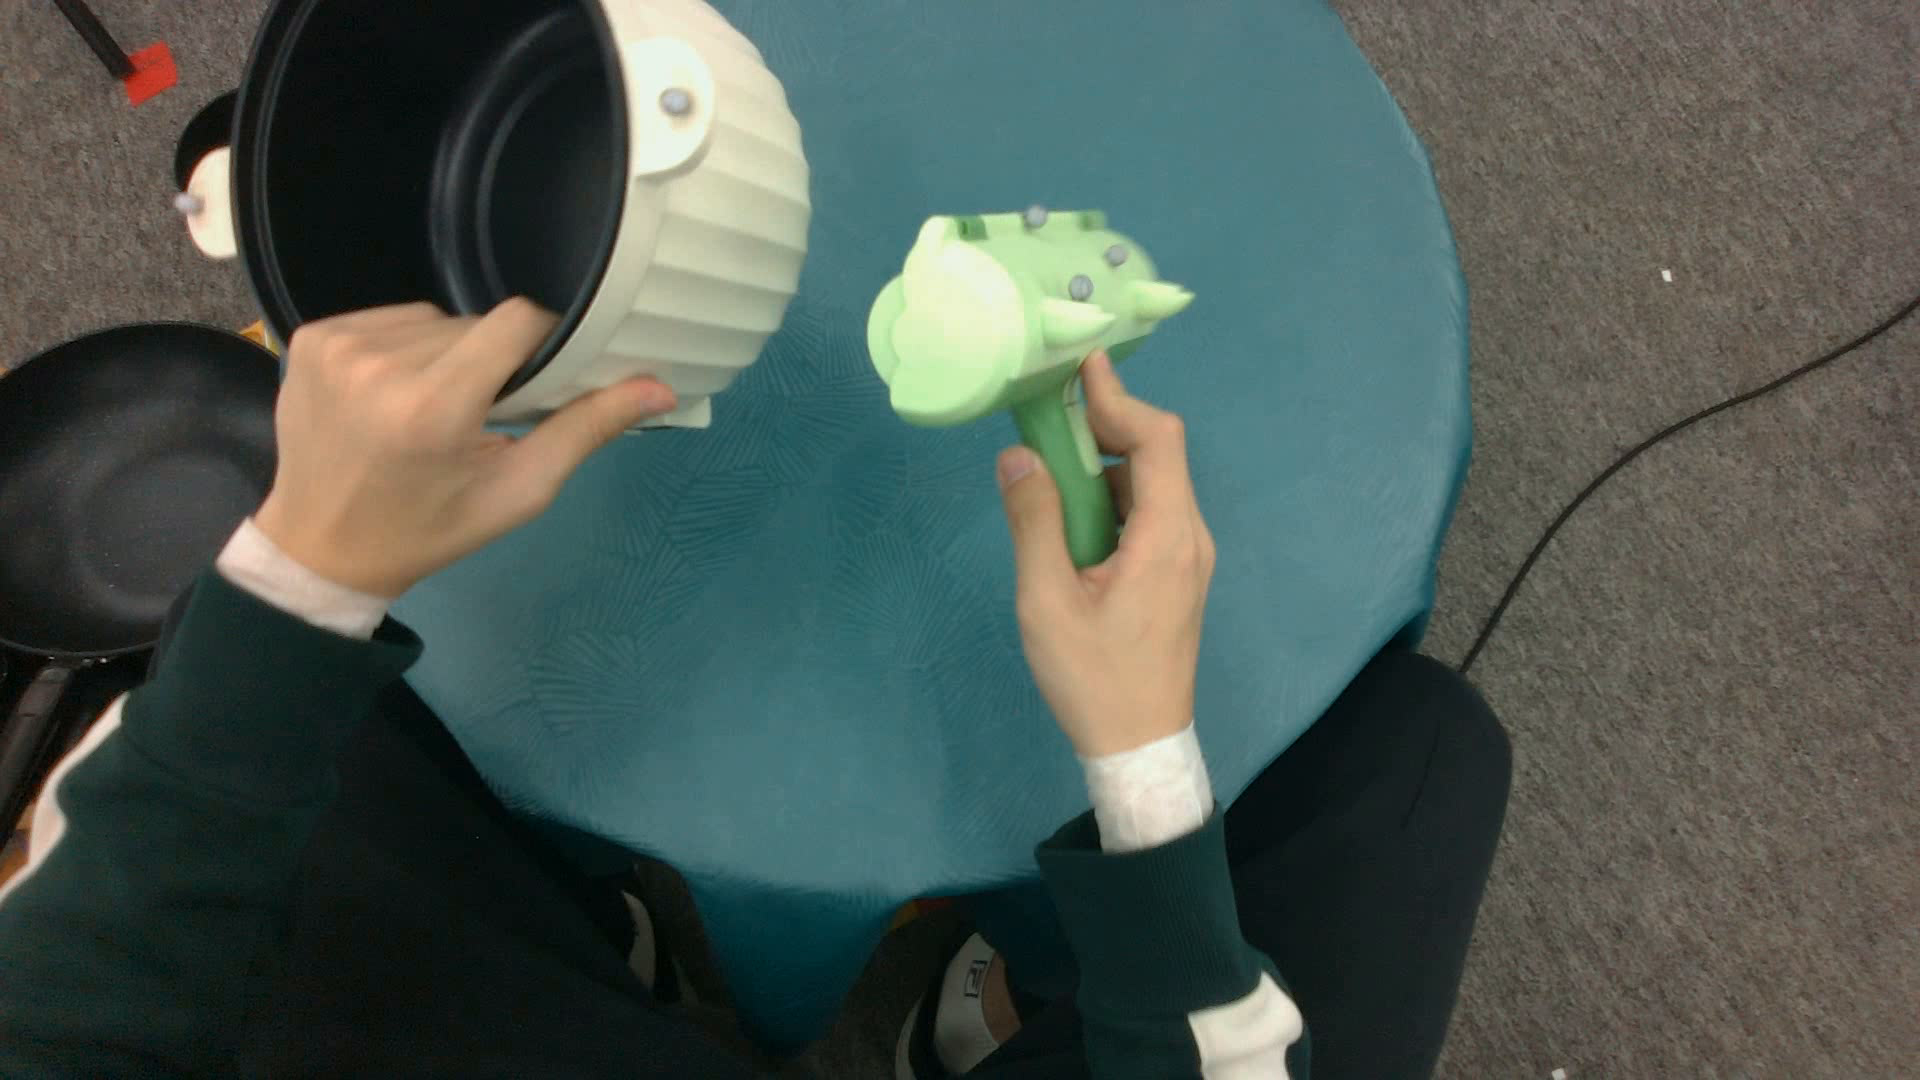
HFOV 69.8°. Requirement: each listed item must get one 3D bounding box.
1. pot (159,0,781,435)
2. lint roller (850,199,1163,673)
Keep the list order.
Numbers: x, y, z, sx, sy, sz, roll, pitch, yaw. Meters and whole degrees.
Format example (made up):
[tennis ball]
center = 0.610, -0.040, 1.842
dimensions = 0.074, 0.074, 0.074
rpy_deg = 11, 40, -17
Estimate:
[pot]
center = -0.166, -0.135, 0.520
dimensions = 0.240, 0.143, 0.190
rpy_deg = -5, 94, 23
[lint roller]
center = 0.043, -0.042, 0.528
dimensions = 0.082, 0.199, 0.183
rpy_deg = -18, 96, 23
